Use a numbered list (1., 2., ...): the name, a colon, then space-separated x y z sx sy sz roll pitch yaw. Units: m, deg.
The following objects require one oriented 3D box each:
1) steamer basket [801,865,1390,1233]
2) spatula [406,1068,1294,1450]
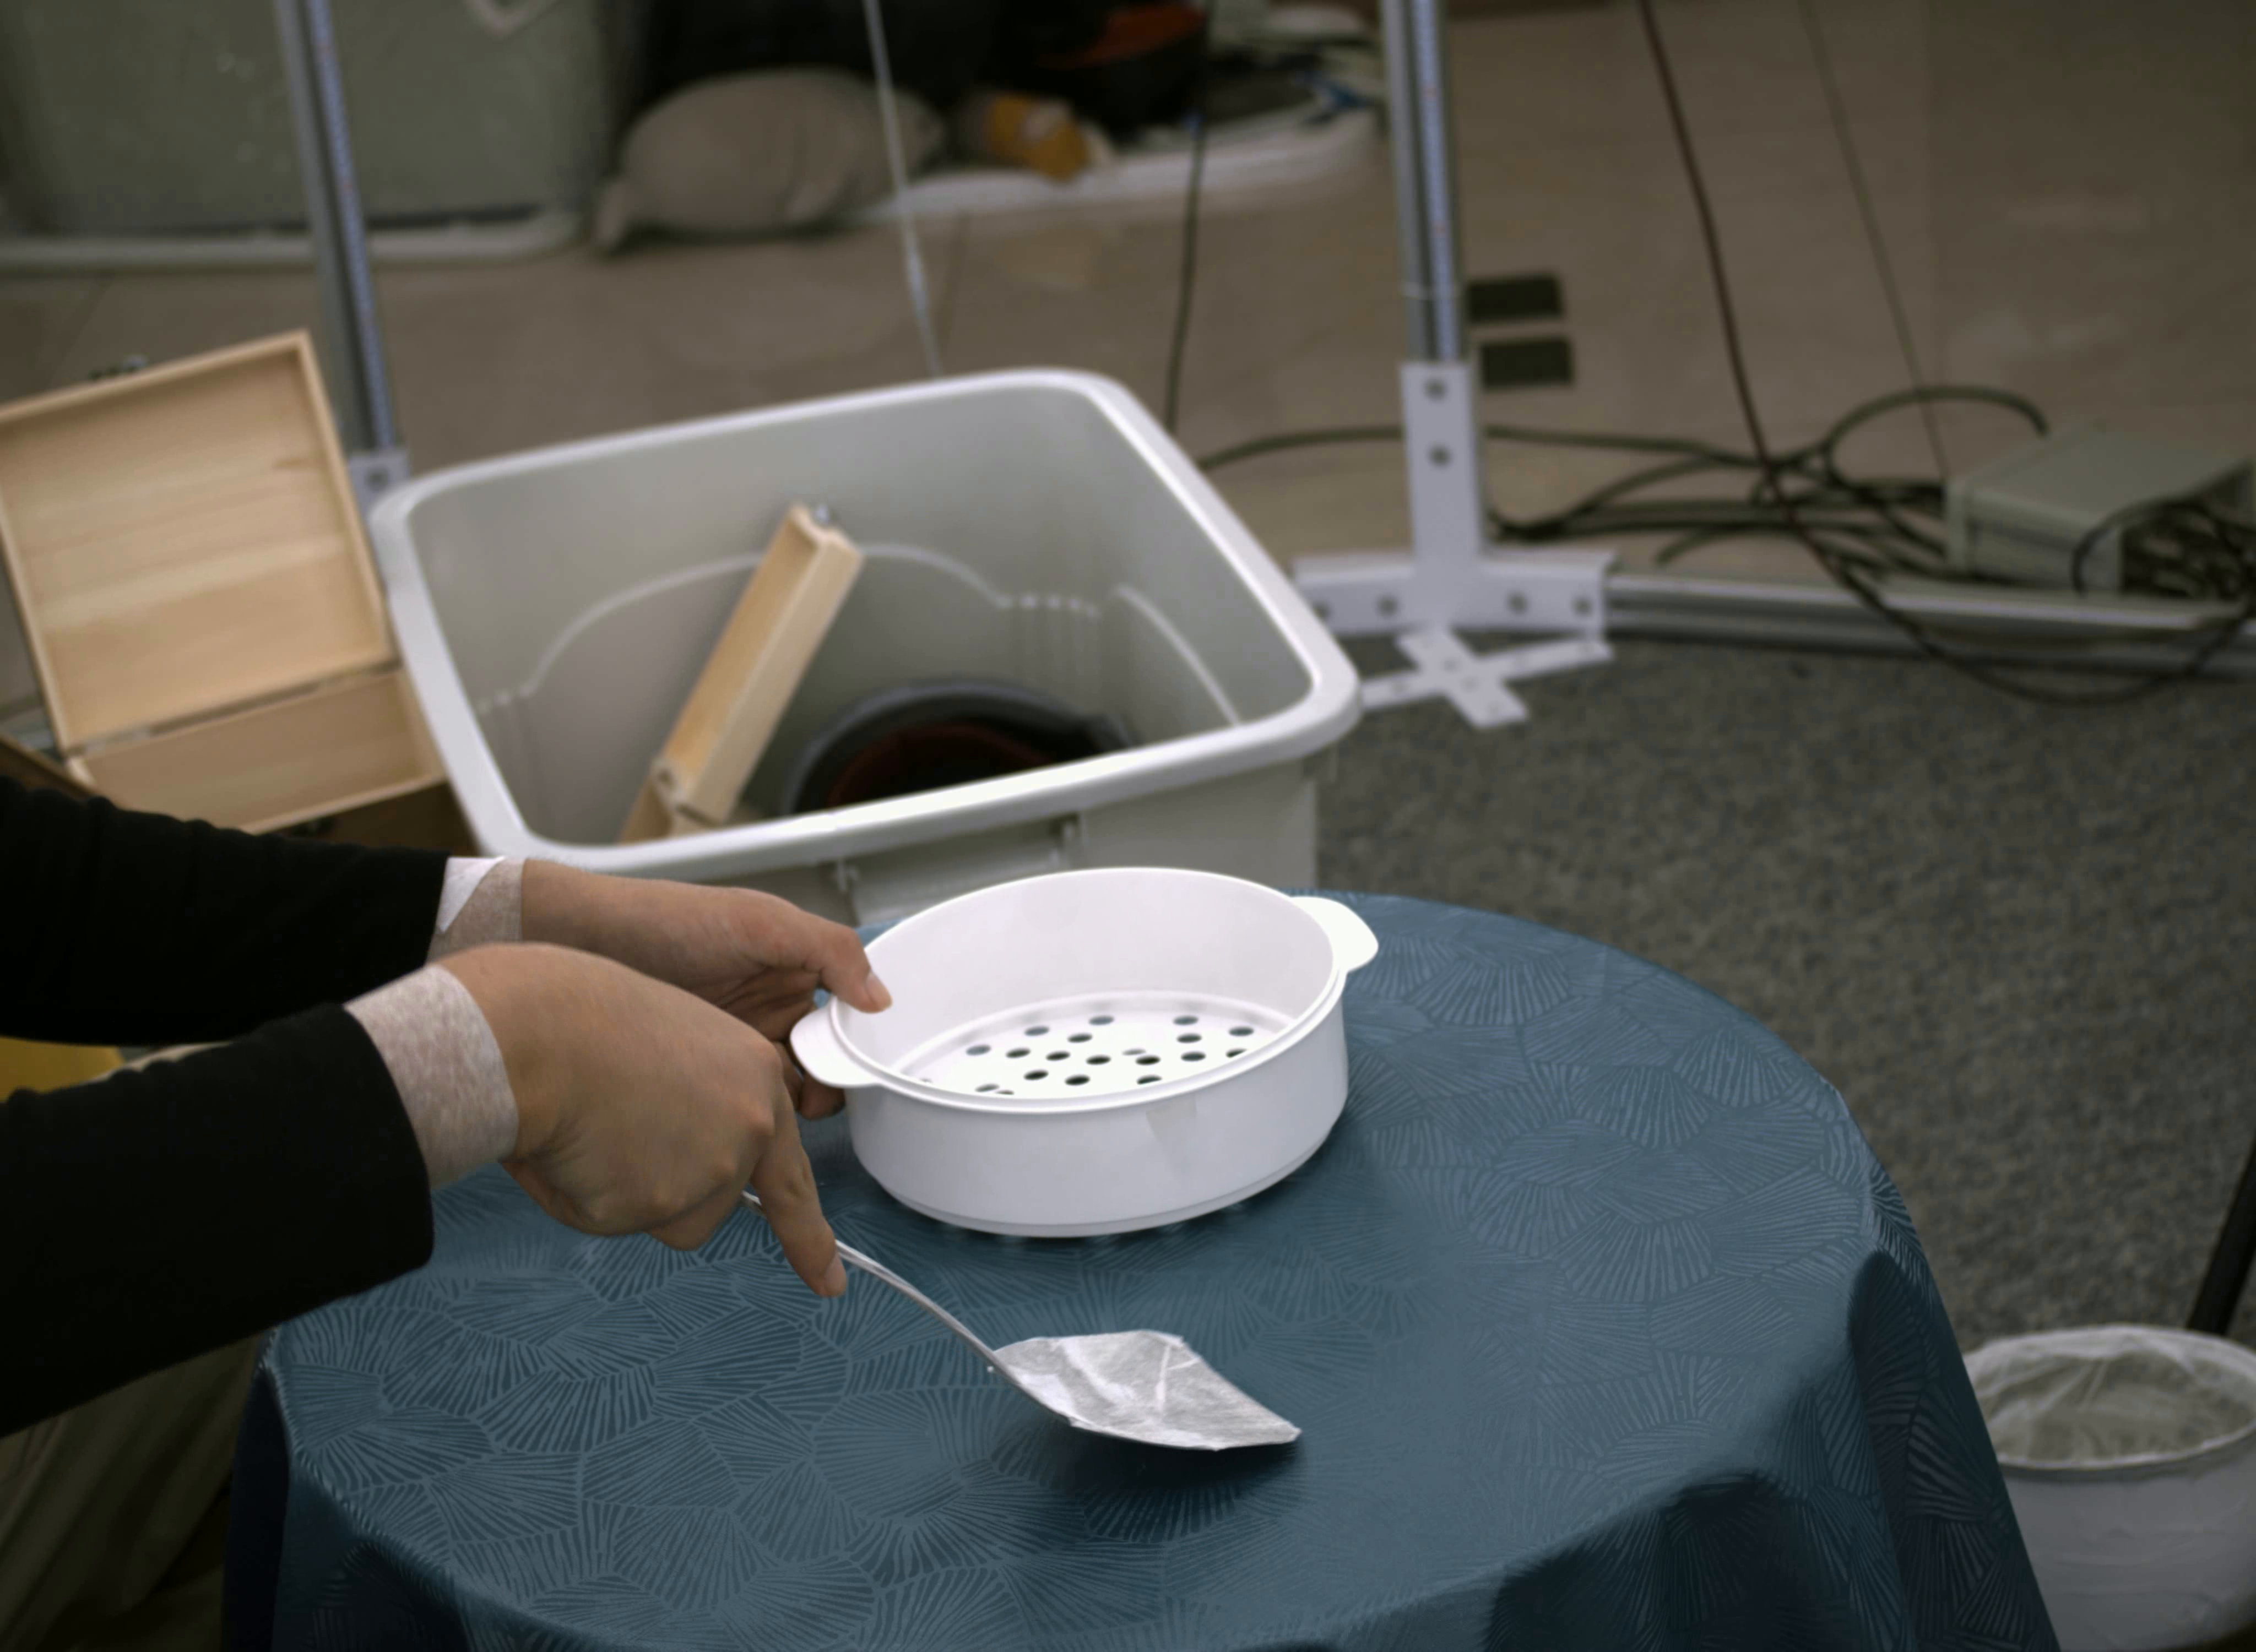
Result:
1. steamer basket: -0.008 0.086 2.180 0.230 0.070 0.199 -14 25 -13
2. spatula: -0.089 0.141 1.890 0.045 0.368 0.097 -57 38 1
